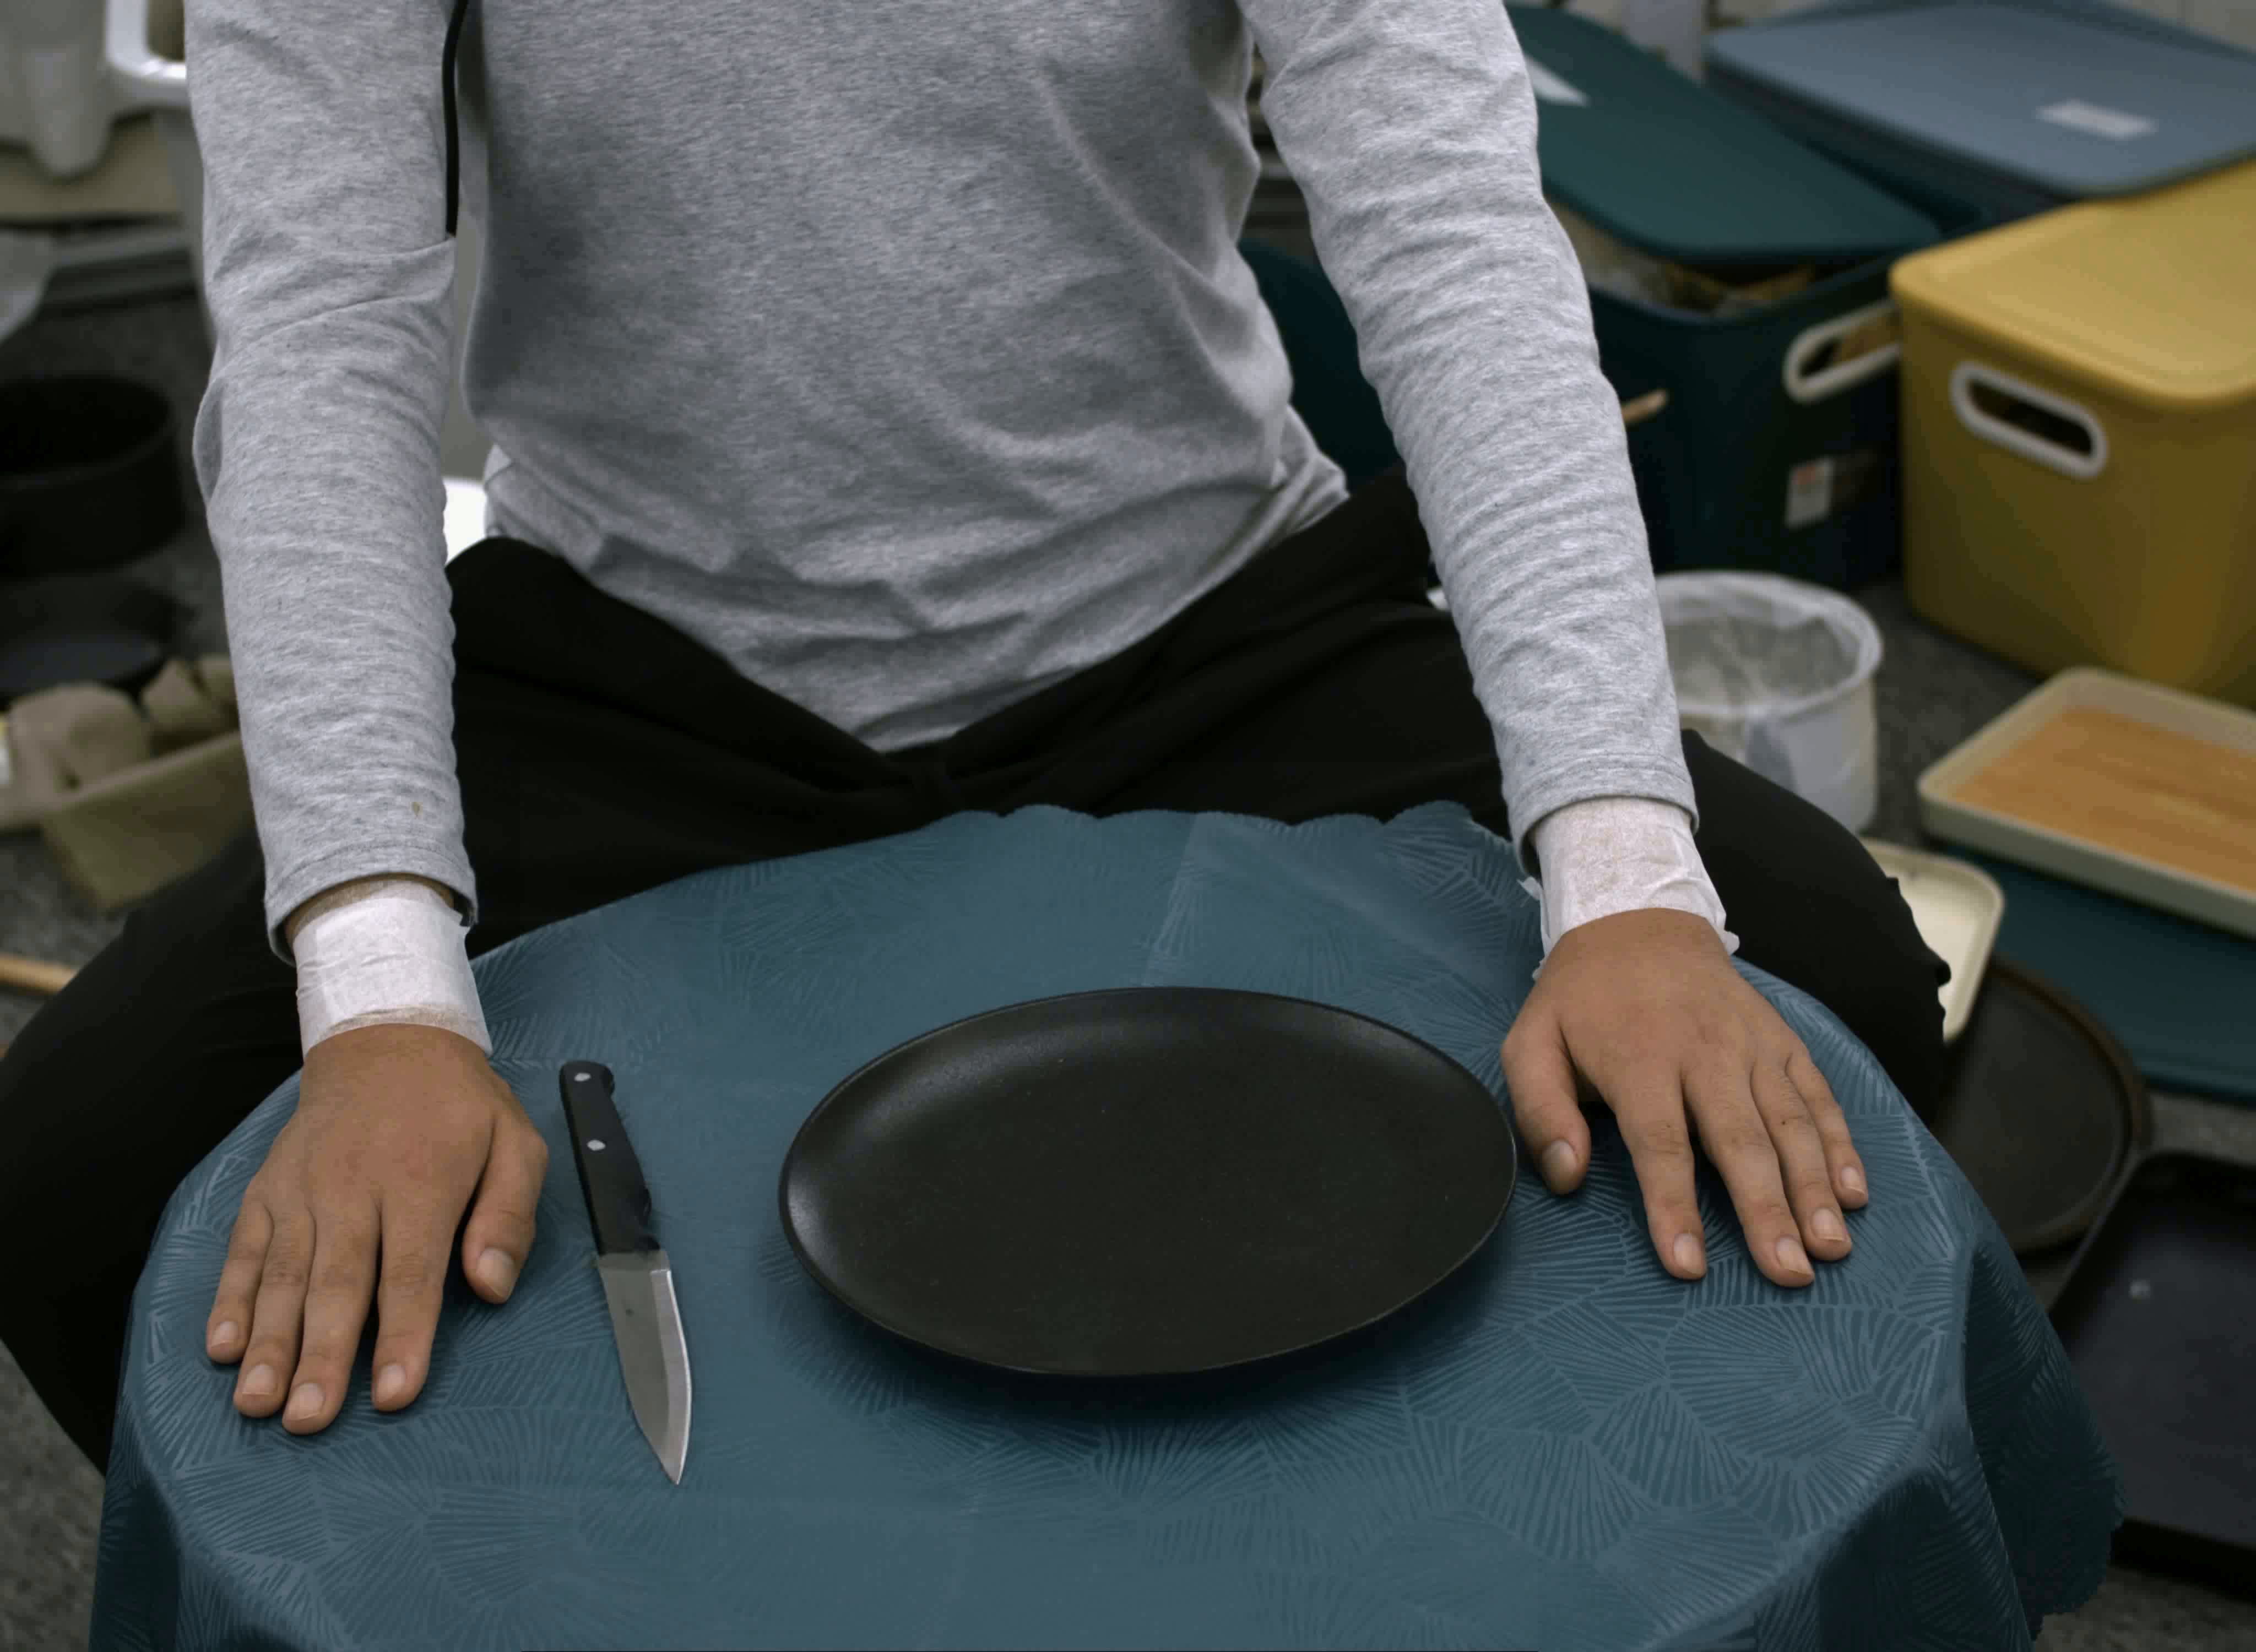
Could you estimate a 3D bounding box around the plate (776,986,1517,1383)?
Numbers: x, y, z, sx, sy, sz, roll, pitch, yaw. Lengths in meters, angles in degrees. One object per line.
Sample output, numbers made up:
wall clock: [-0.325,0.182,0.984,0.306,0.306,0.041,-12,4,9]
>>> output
plate: [0.006,0.121,1.838,0.243,0.023,0.248,-2,27,1]

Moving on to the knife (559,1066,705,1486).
knife: [-0.162,0.145,1.819,0.024,0.016,0.241,-9,30,-9]
